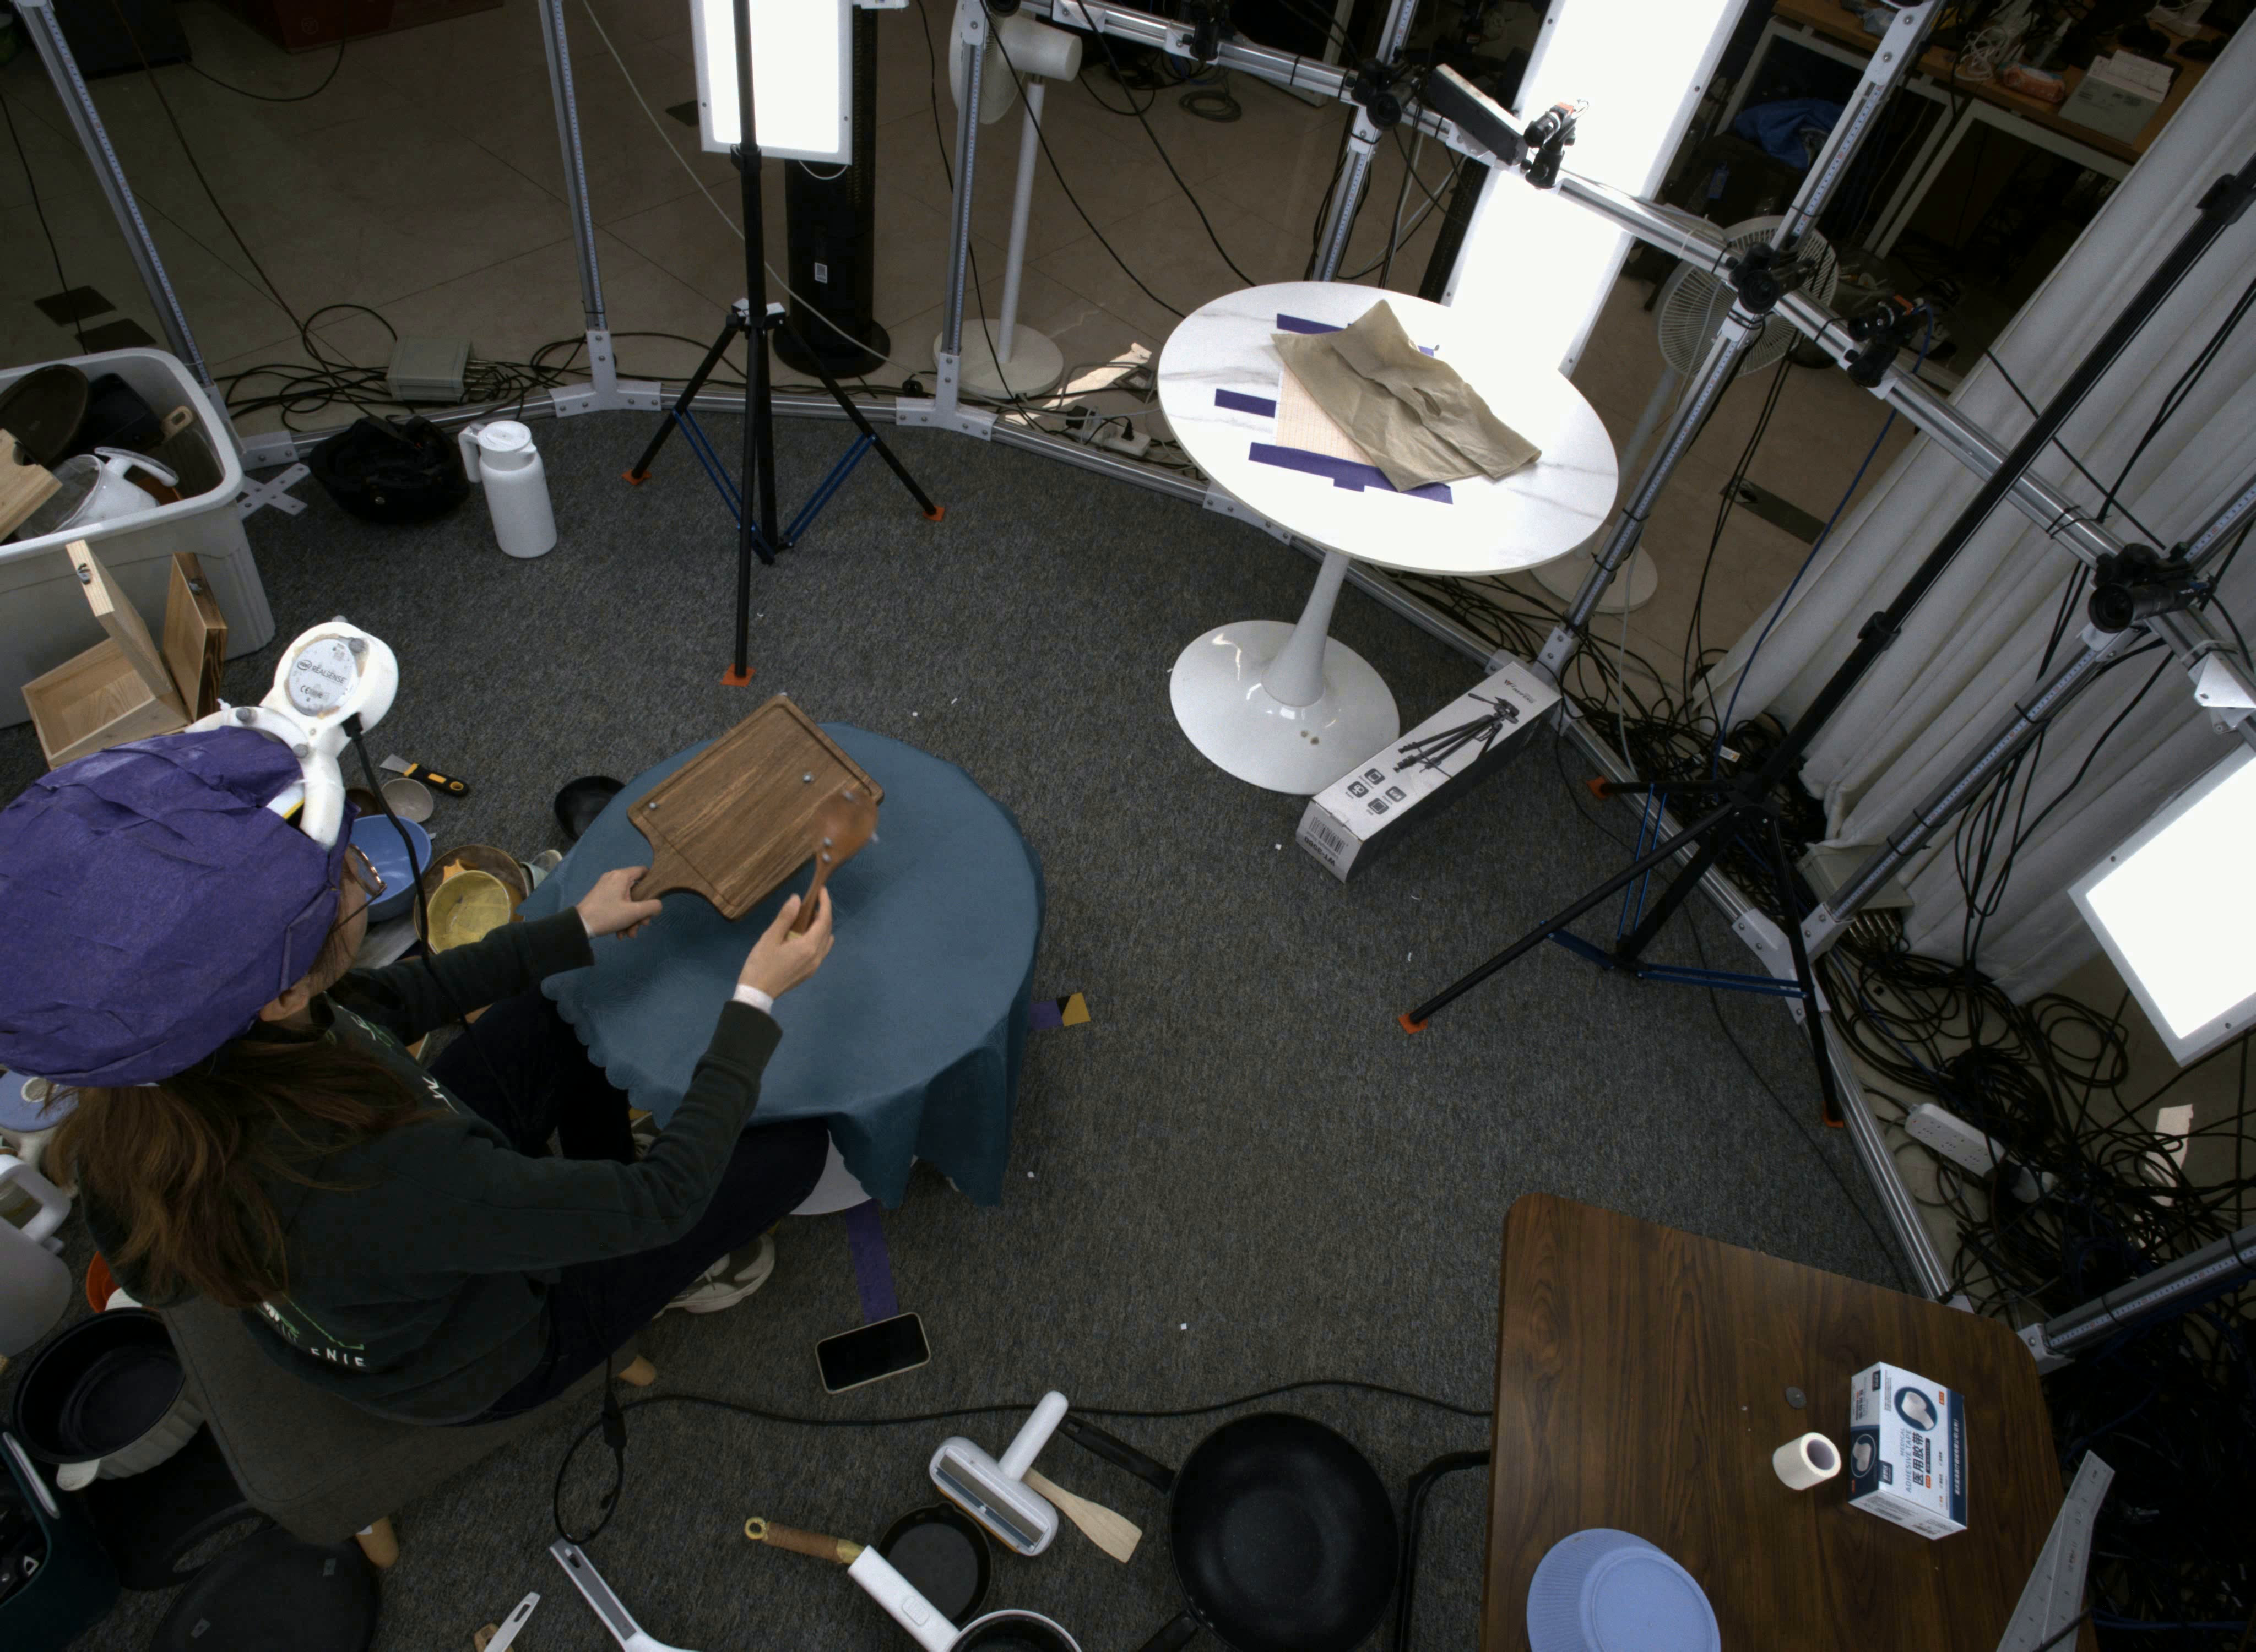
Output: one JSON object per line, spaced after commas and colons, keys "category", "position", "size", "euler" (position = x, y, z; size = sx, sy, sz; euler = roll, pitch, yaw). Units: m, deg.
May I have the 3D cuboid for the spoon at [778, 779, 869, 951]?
{"category": "spoon", "position": [-0.343, 0.039, 1.429], "size": [0.074, 0.018, 0.214], "euler": [11, 60, 5]}

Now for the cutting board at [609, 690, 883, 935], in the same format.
{"category": "cutting board", "position": [-0.489, 0.003, 1.566], "size": [0.200, 0.023, 0.352], "euler": [44, 65, 5]}
